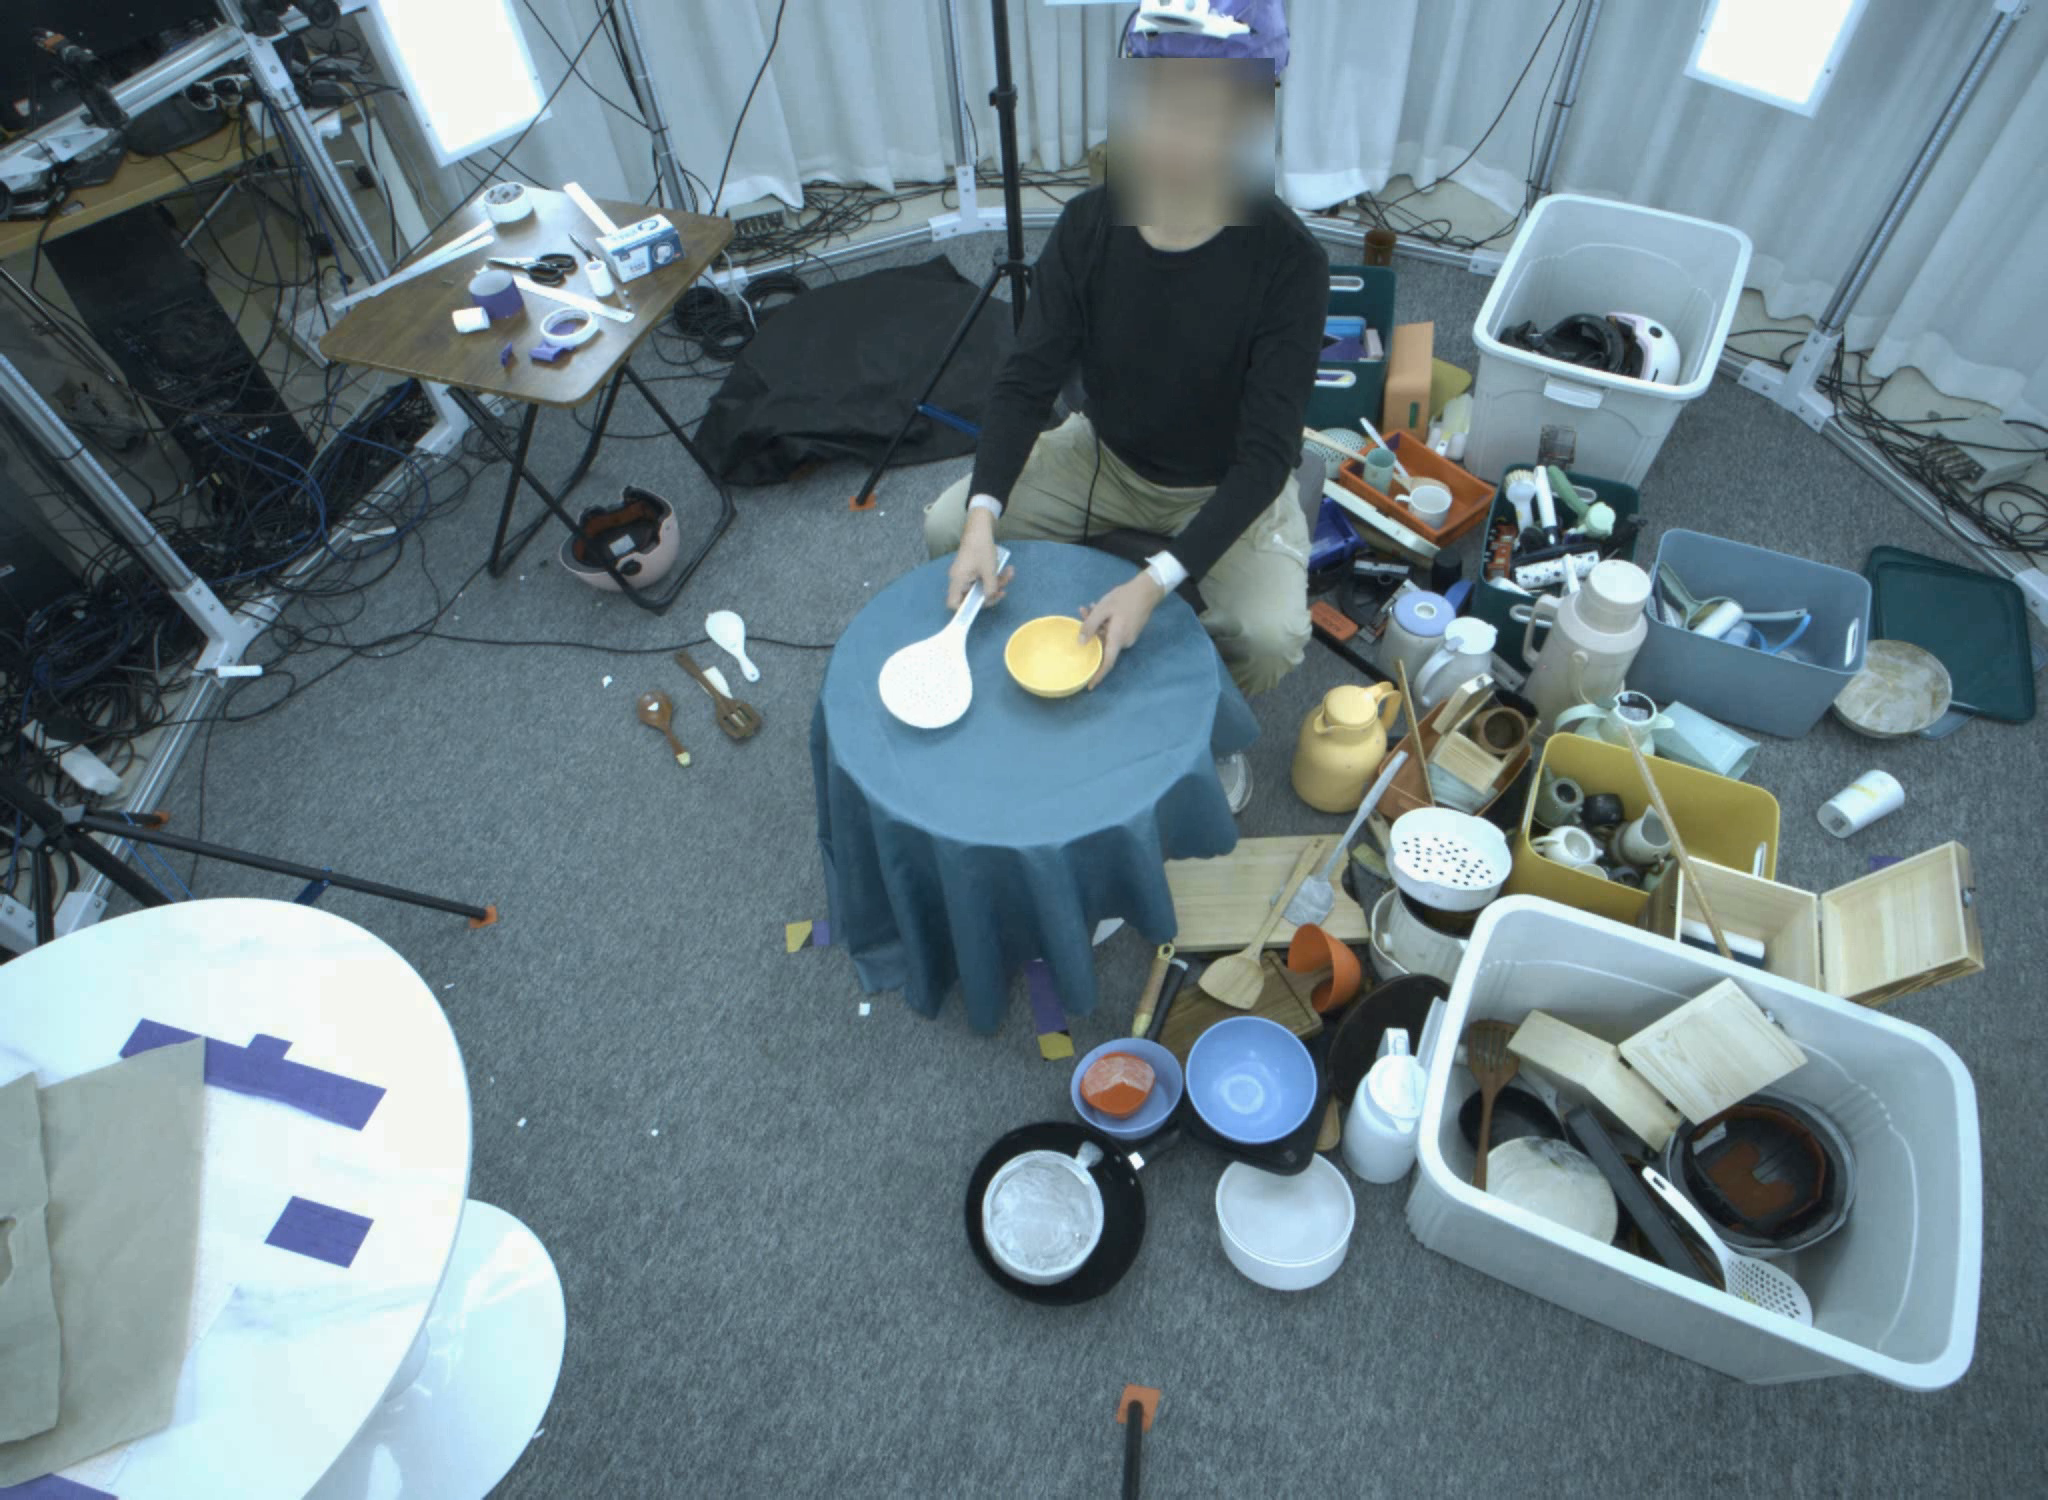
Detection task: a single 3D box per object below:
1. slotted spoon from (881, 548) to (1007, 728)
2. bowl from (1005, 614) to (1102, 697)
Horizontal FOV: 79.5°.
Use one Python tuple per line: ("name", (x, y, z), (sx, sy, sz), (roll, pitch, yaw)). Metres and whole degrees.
("slotted spoon", (-0.105, -0.177, 1.863), (0.136, 0.045, 0.349), (27, 66, -4))
("bowl", (0.045, -0.130, 1.843), (0.145, 0.061, 0.144), (0, 57, 2))
